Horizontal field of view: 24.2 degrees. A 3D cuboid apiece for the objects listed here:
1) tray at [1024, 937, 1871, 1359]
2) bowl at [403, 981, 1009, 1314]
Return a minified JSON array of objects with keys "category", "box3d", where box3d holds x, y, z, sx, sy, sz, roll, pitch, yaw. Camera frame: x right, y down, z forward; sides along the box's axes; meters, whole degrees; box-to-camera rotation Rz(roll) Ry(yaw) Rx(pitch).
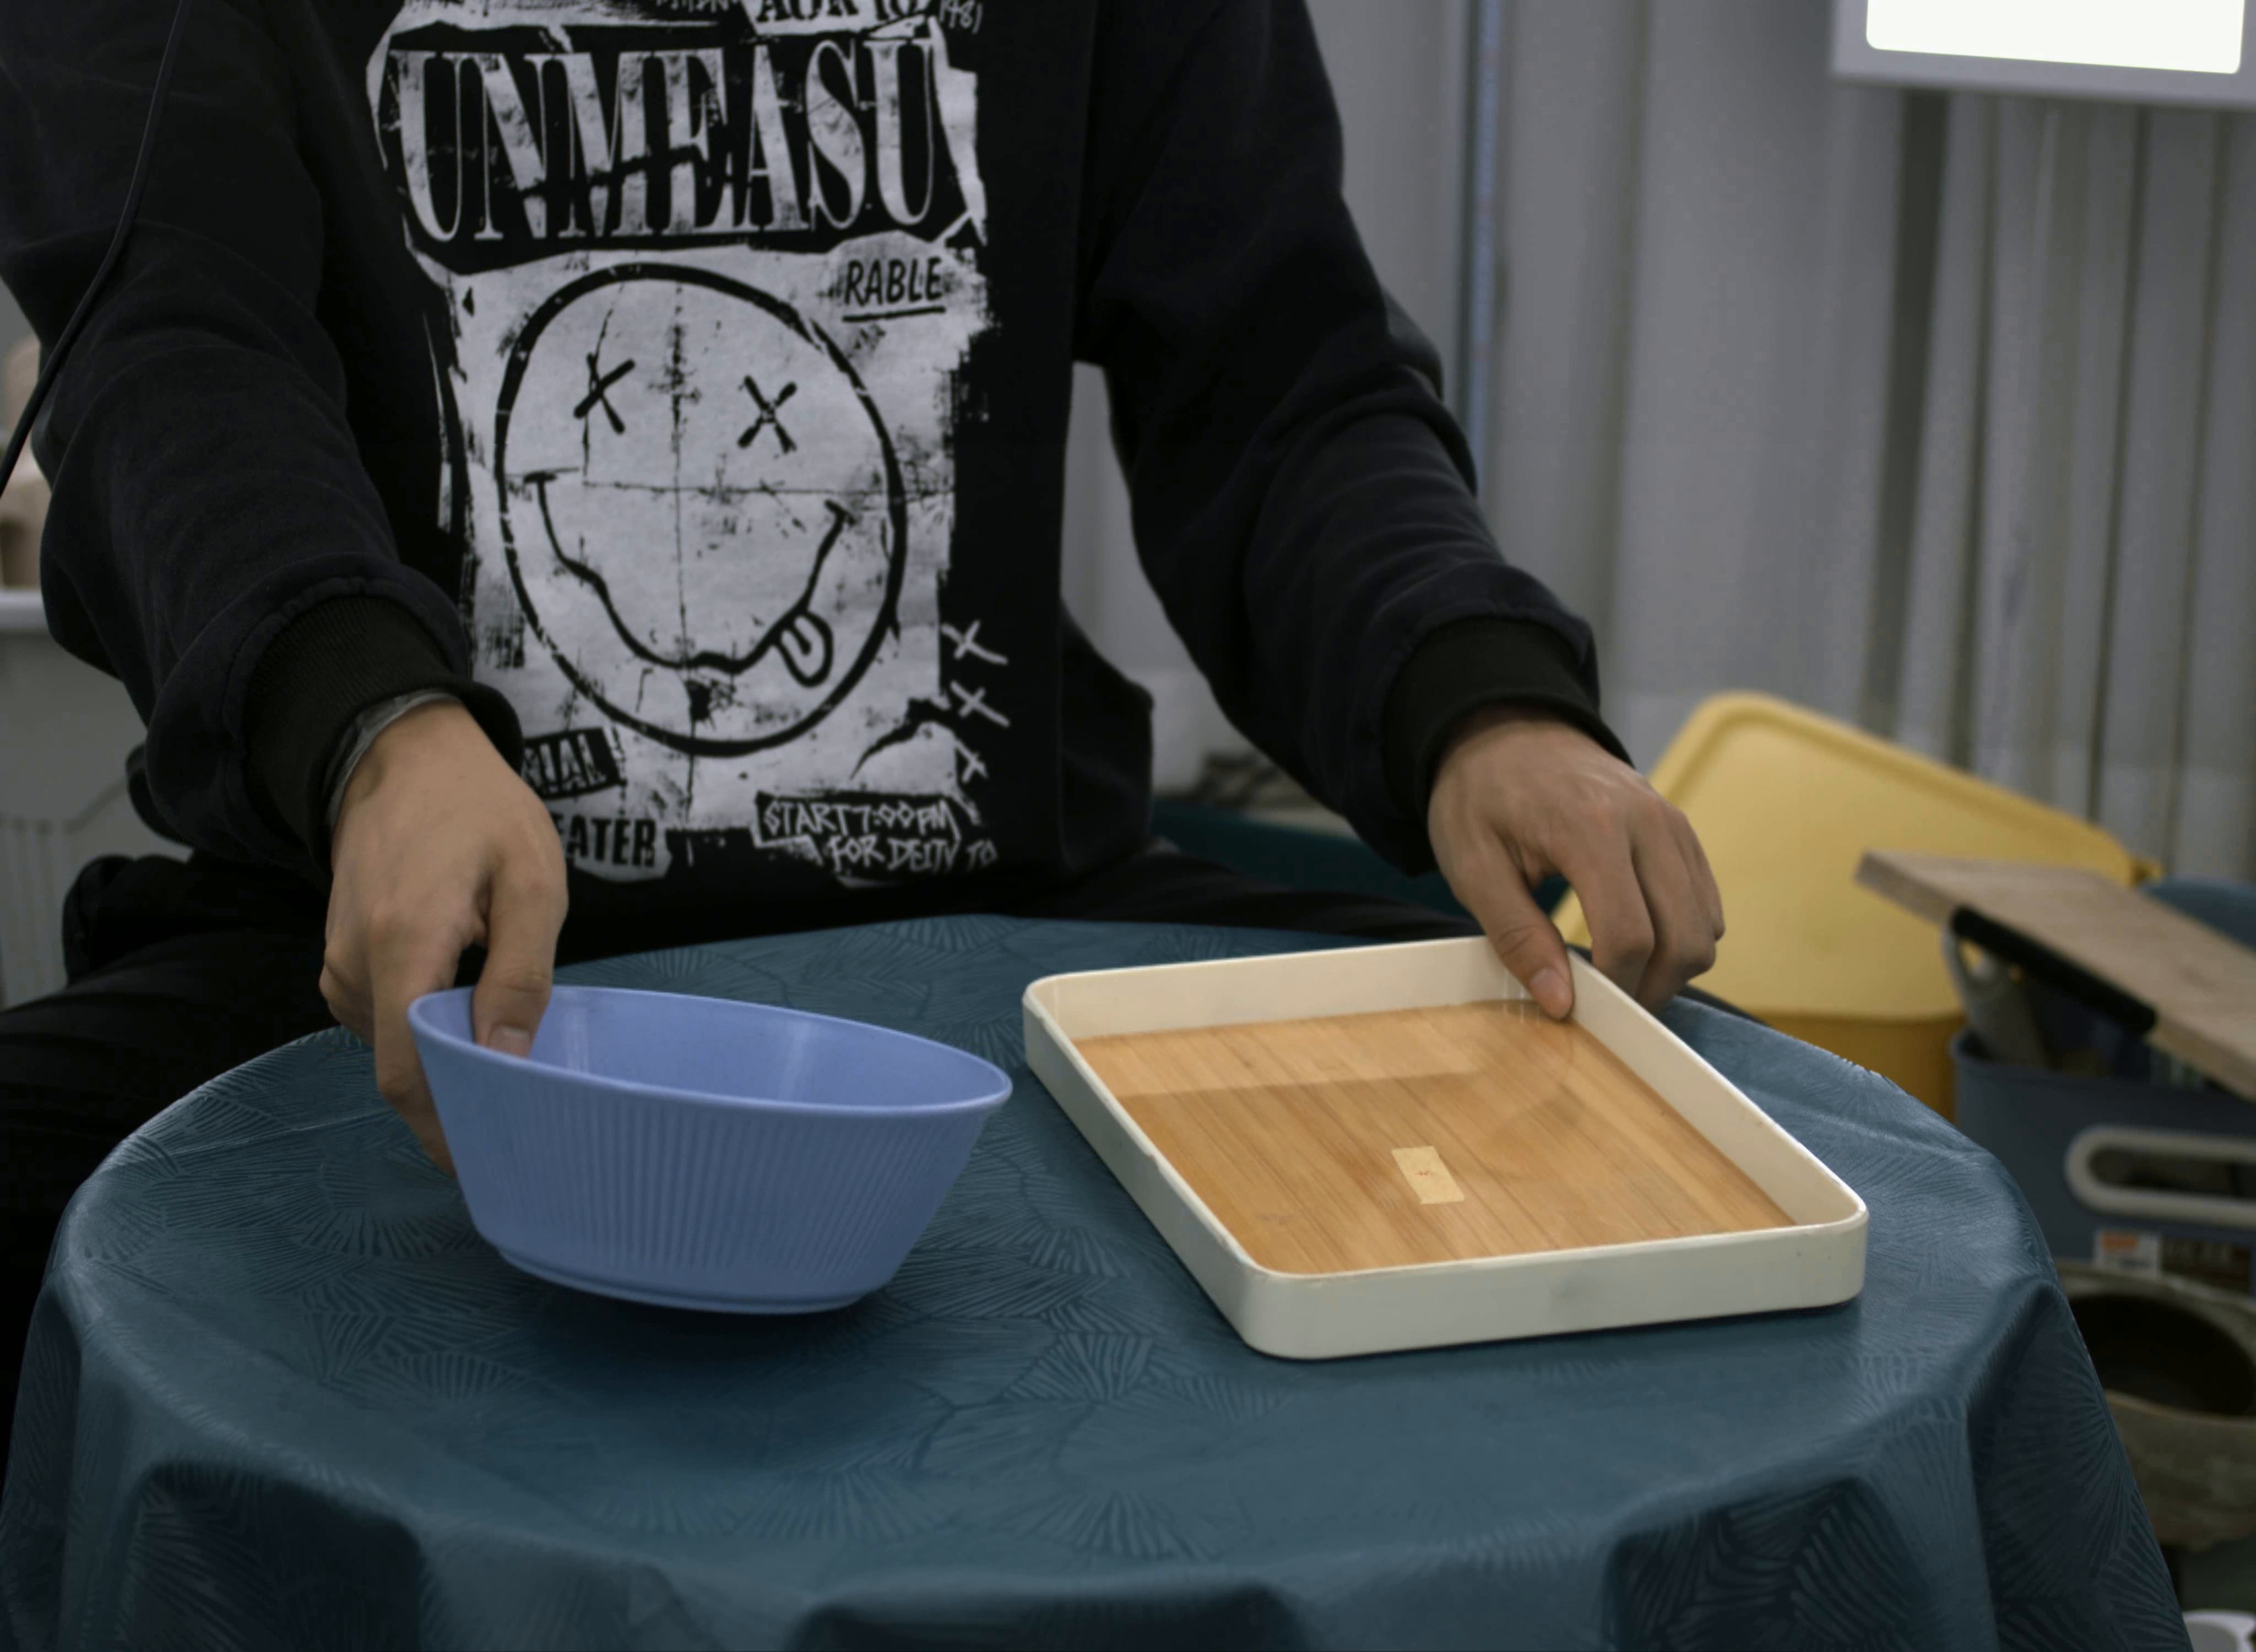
[{"category":"tray","box3d":[0.091,0.095,1.639,0.192,0.027,0.297,-4,17,-15]},{"category":"bowl","box3d":[-0.125,0.094,1.518,0.175,0.070,0.175,8,7,-1]}]
